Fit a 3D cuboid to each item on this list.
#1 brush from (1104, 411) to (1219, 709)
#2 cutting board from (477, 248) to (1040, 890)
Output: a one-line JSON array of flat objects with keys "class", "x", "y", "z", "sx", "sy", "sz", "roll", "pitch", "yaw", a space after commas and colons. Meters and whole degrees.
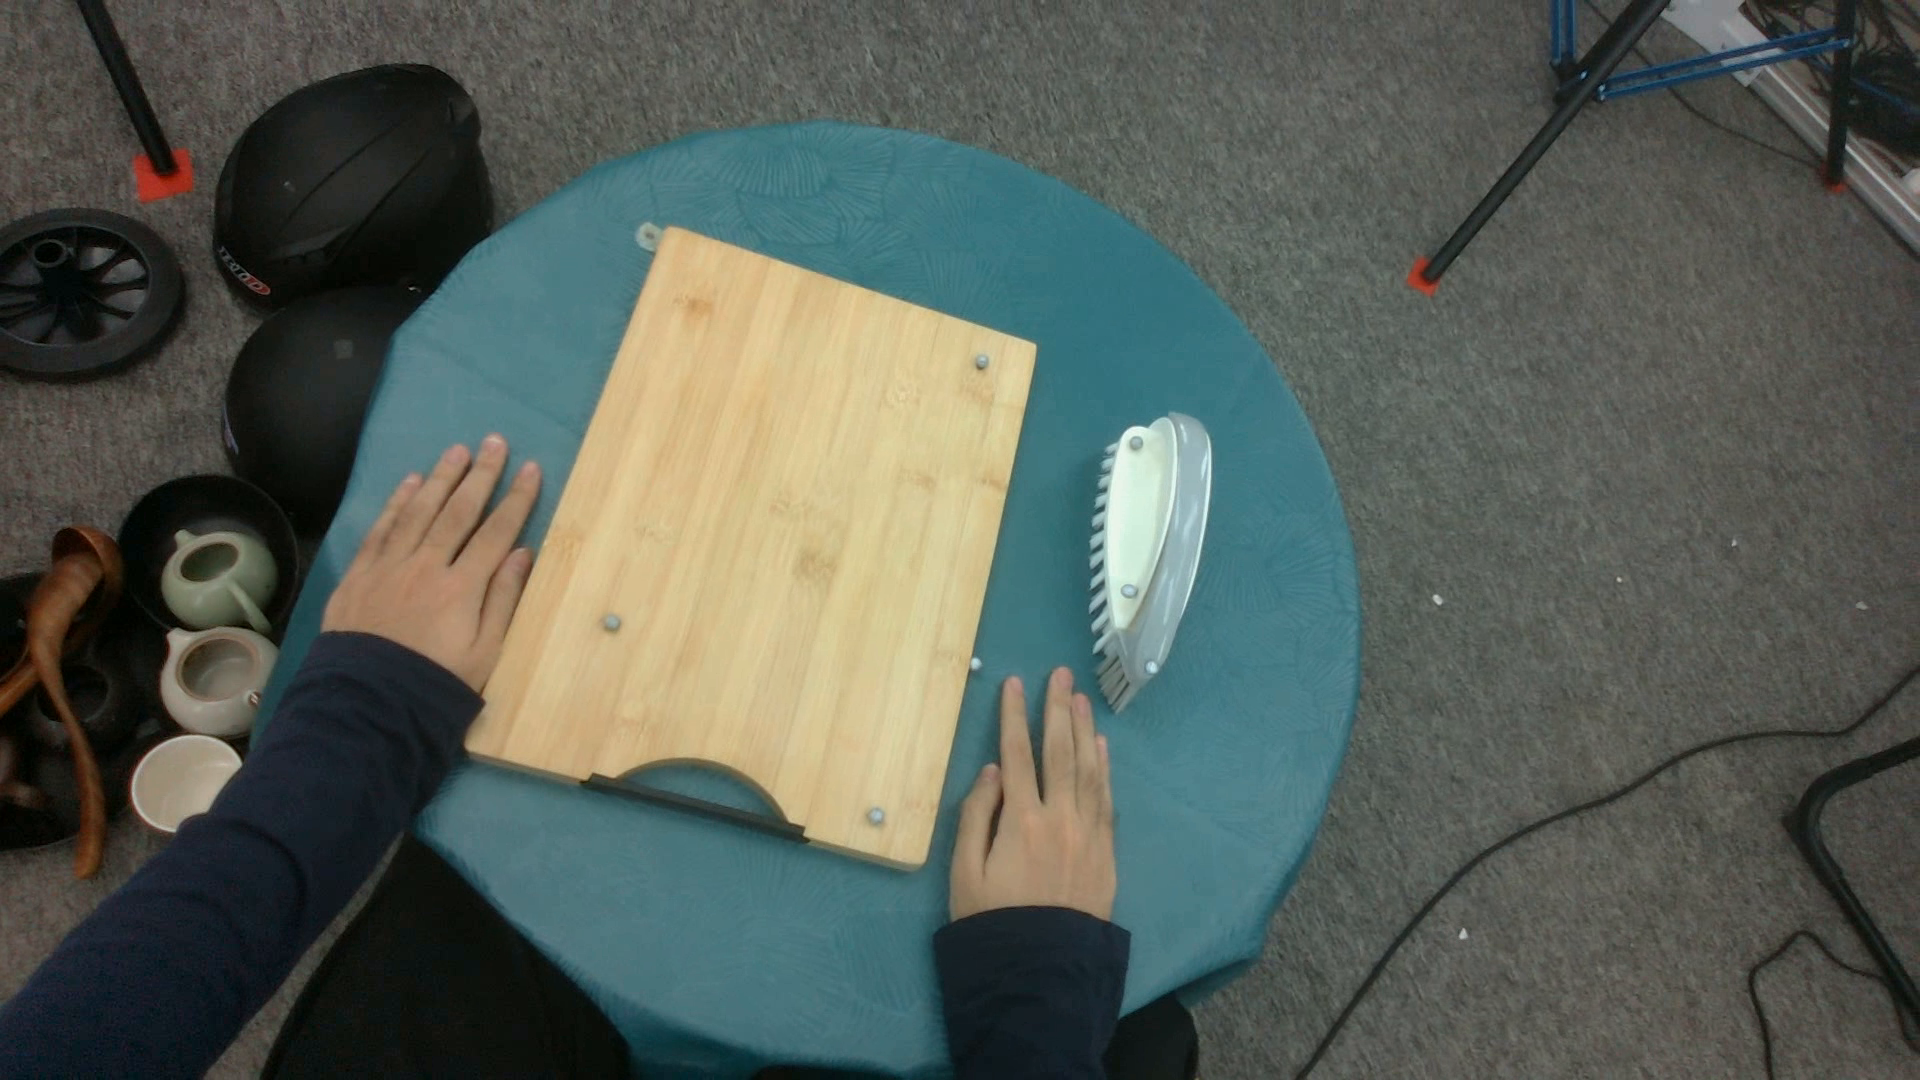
[{"class": "brush", "x": 0.122, "y": 0.005, "z": 0.808, "sx": 0.061, "sy": 0.094, "sz": 0.176, "roll": 14, "pitch": 64, "yaw": -8}, {"class": "cutting board", "x": -0.097, "y": 0.004, "z": 0.794, "sx": 0.251, "sy": 0.023, "sz": 0.350, "roll": 14, "pitch": 62, "yaw": -7}]
